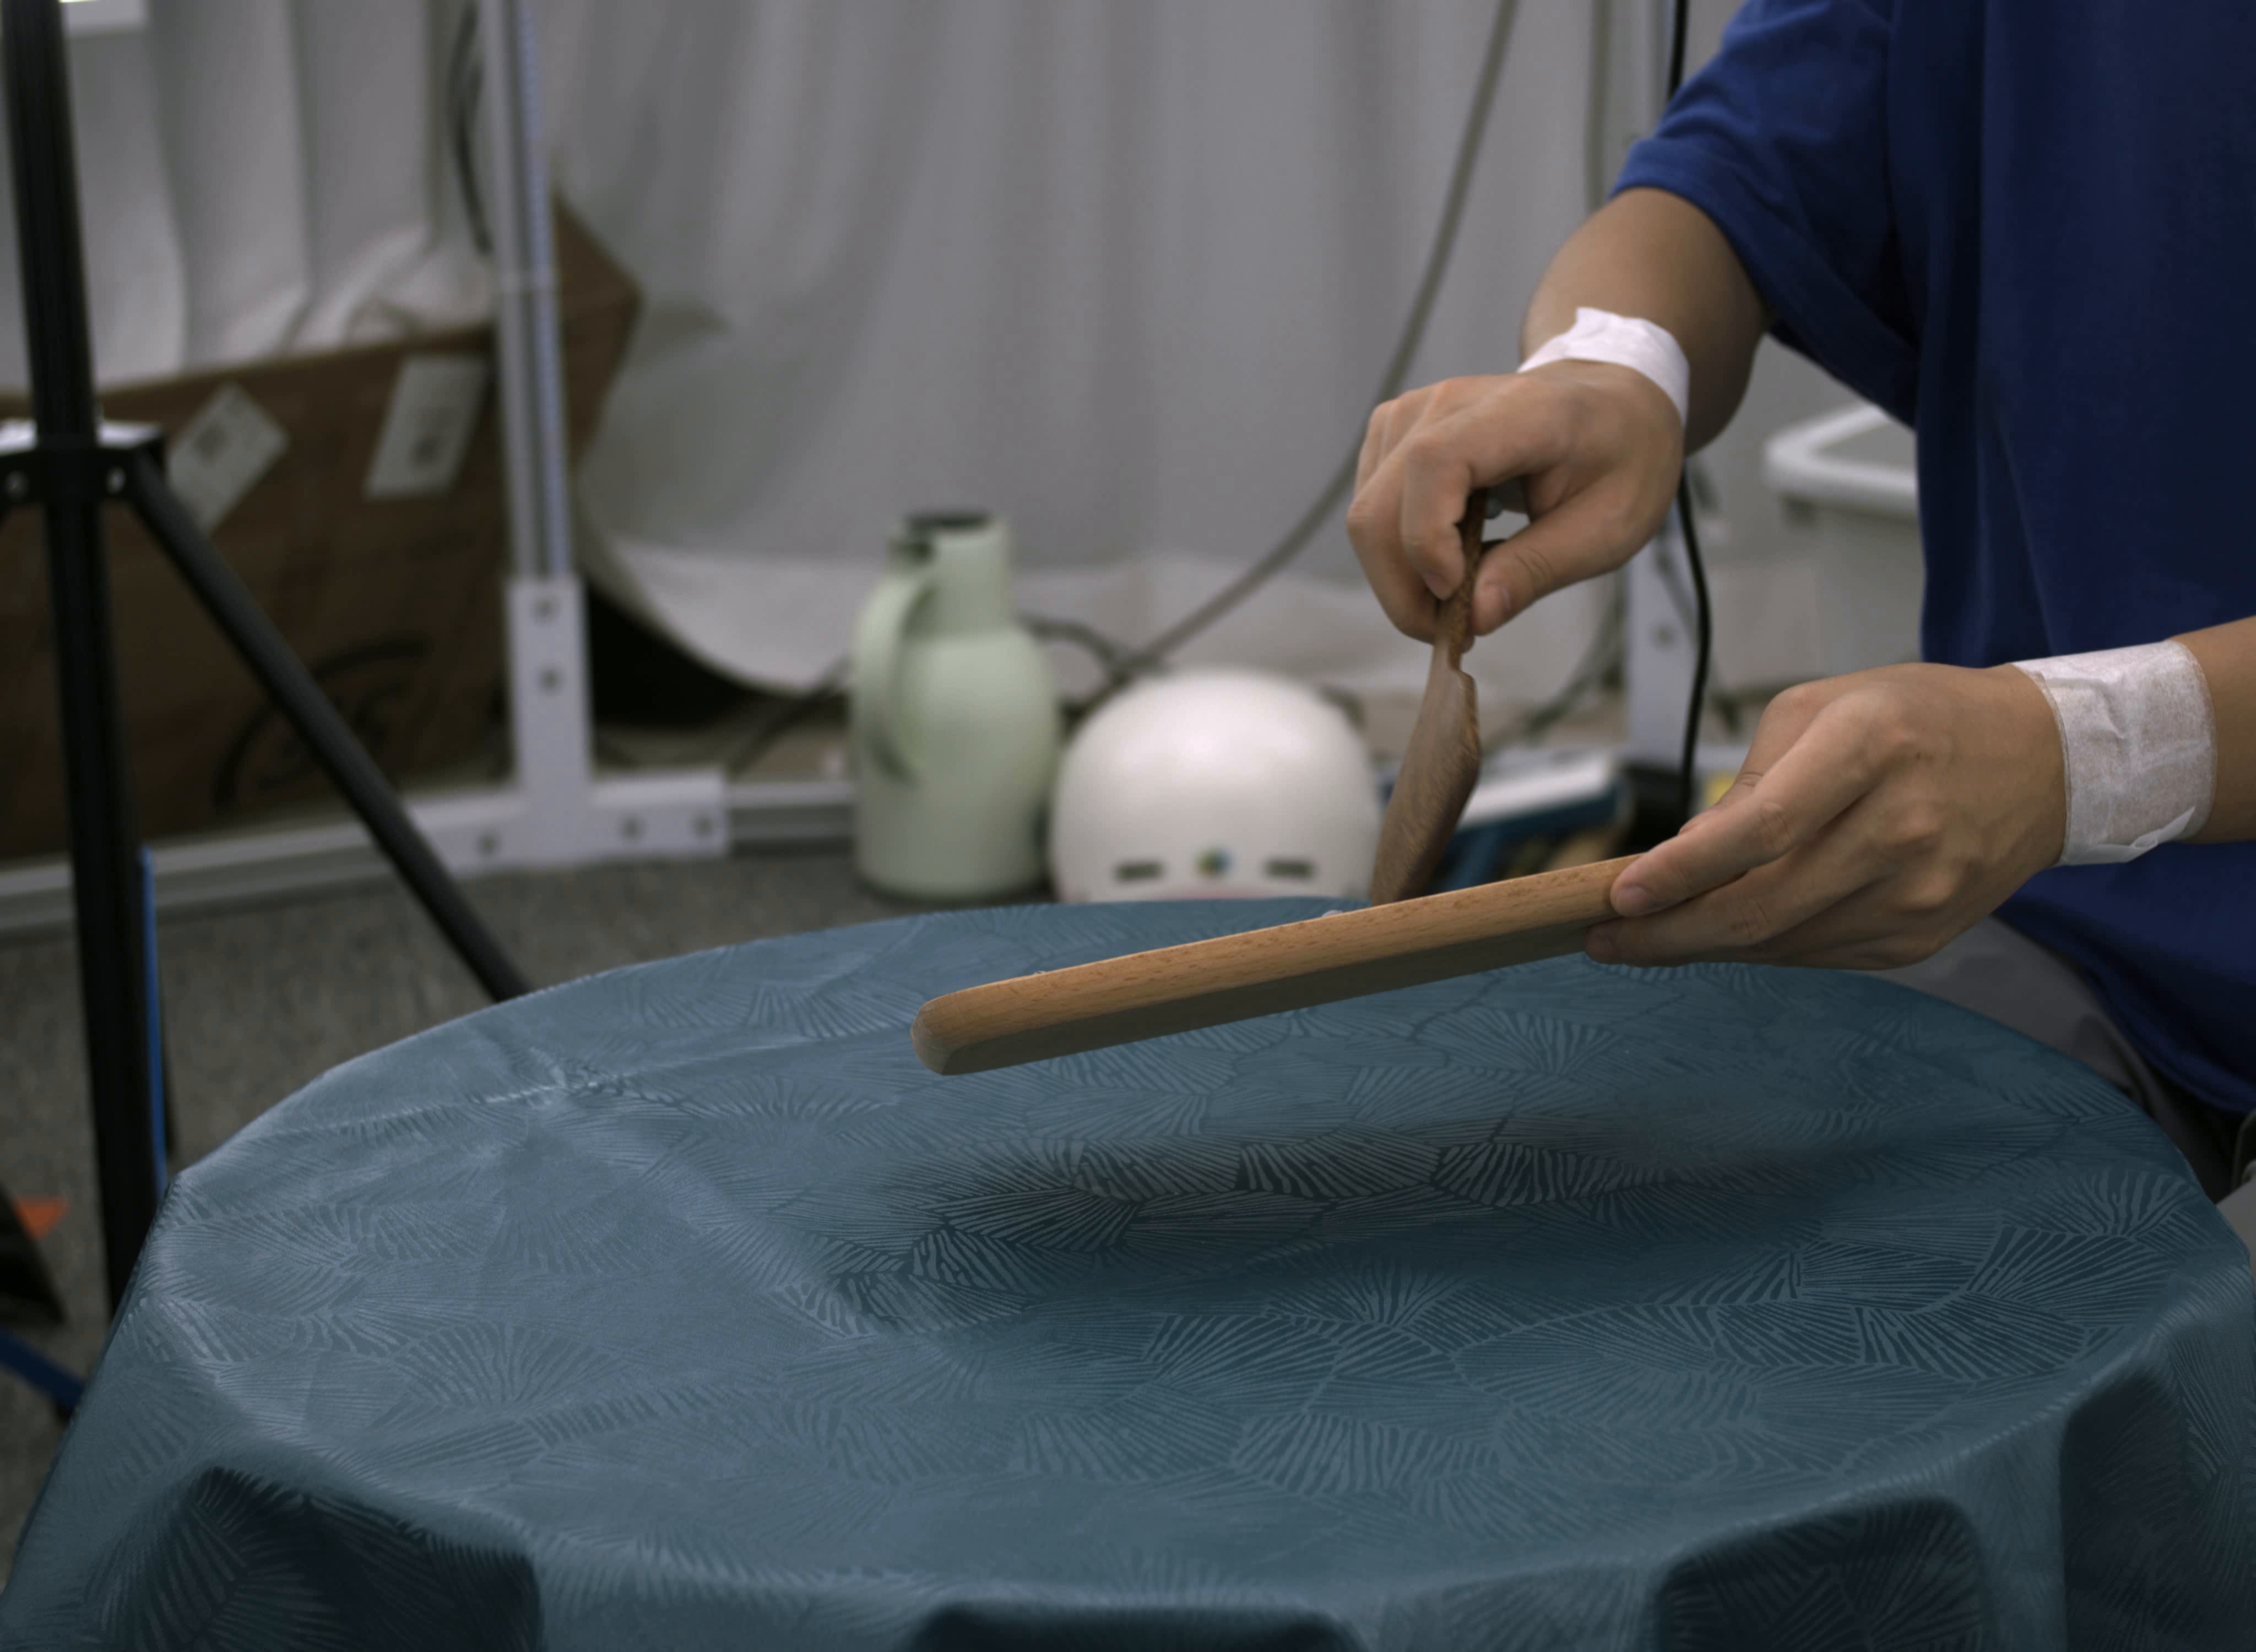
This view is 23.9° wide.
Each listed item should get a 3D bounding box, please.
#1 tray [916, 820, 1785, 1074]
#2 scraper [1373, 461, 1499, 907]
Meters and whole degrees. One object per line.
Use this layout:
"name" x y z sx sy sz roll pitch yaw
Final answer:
"tray" 0.063 0.037 1.535 0.249 0.023 0.130 -11 -5 -3
"scraper" 0.098 -0.048 1.604 0.011 0.076 0.212 22 35 -6
